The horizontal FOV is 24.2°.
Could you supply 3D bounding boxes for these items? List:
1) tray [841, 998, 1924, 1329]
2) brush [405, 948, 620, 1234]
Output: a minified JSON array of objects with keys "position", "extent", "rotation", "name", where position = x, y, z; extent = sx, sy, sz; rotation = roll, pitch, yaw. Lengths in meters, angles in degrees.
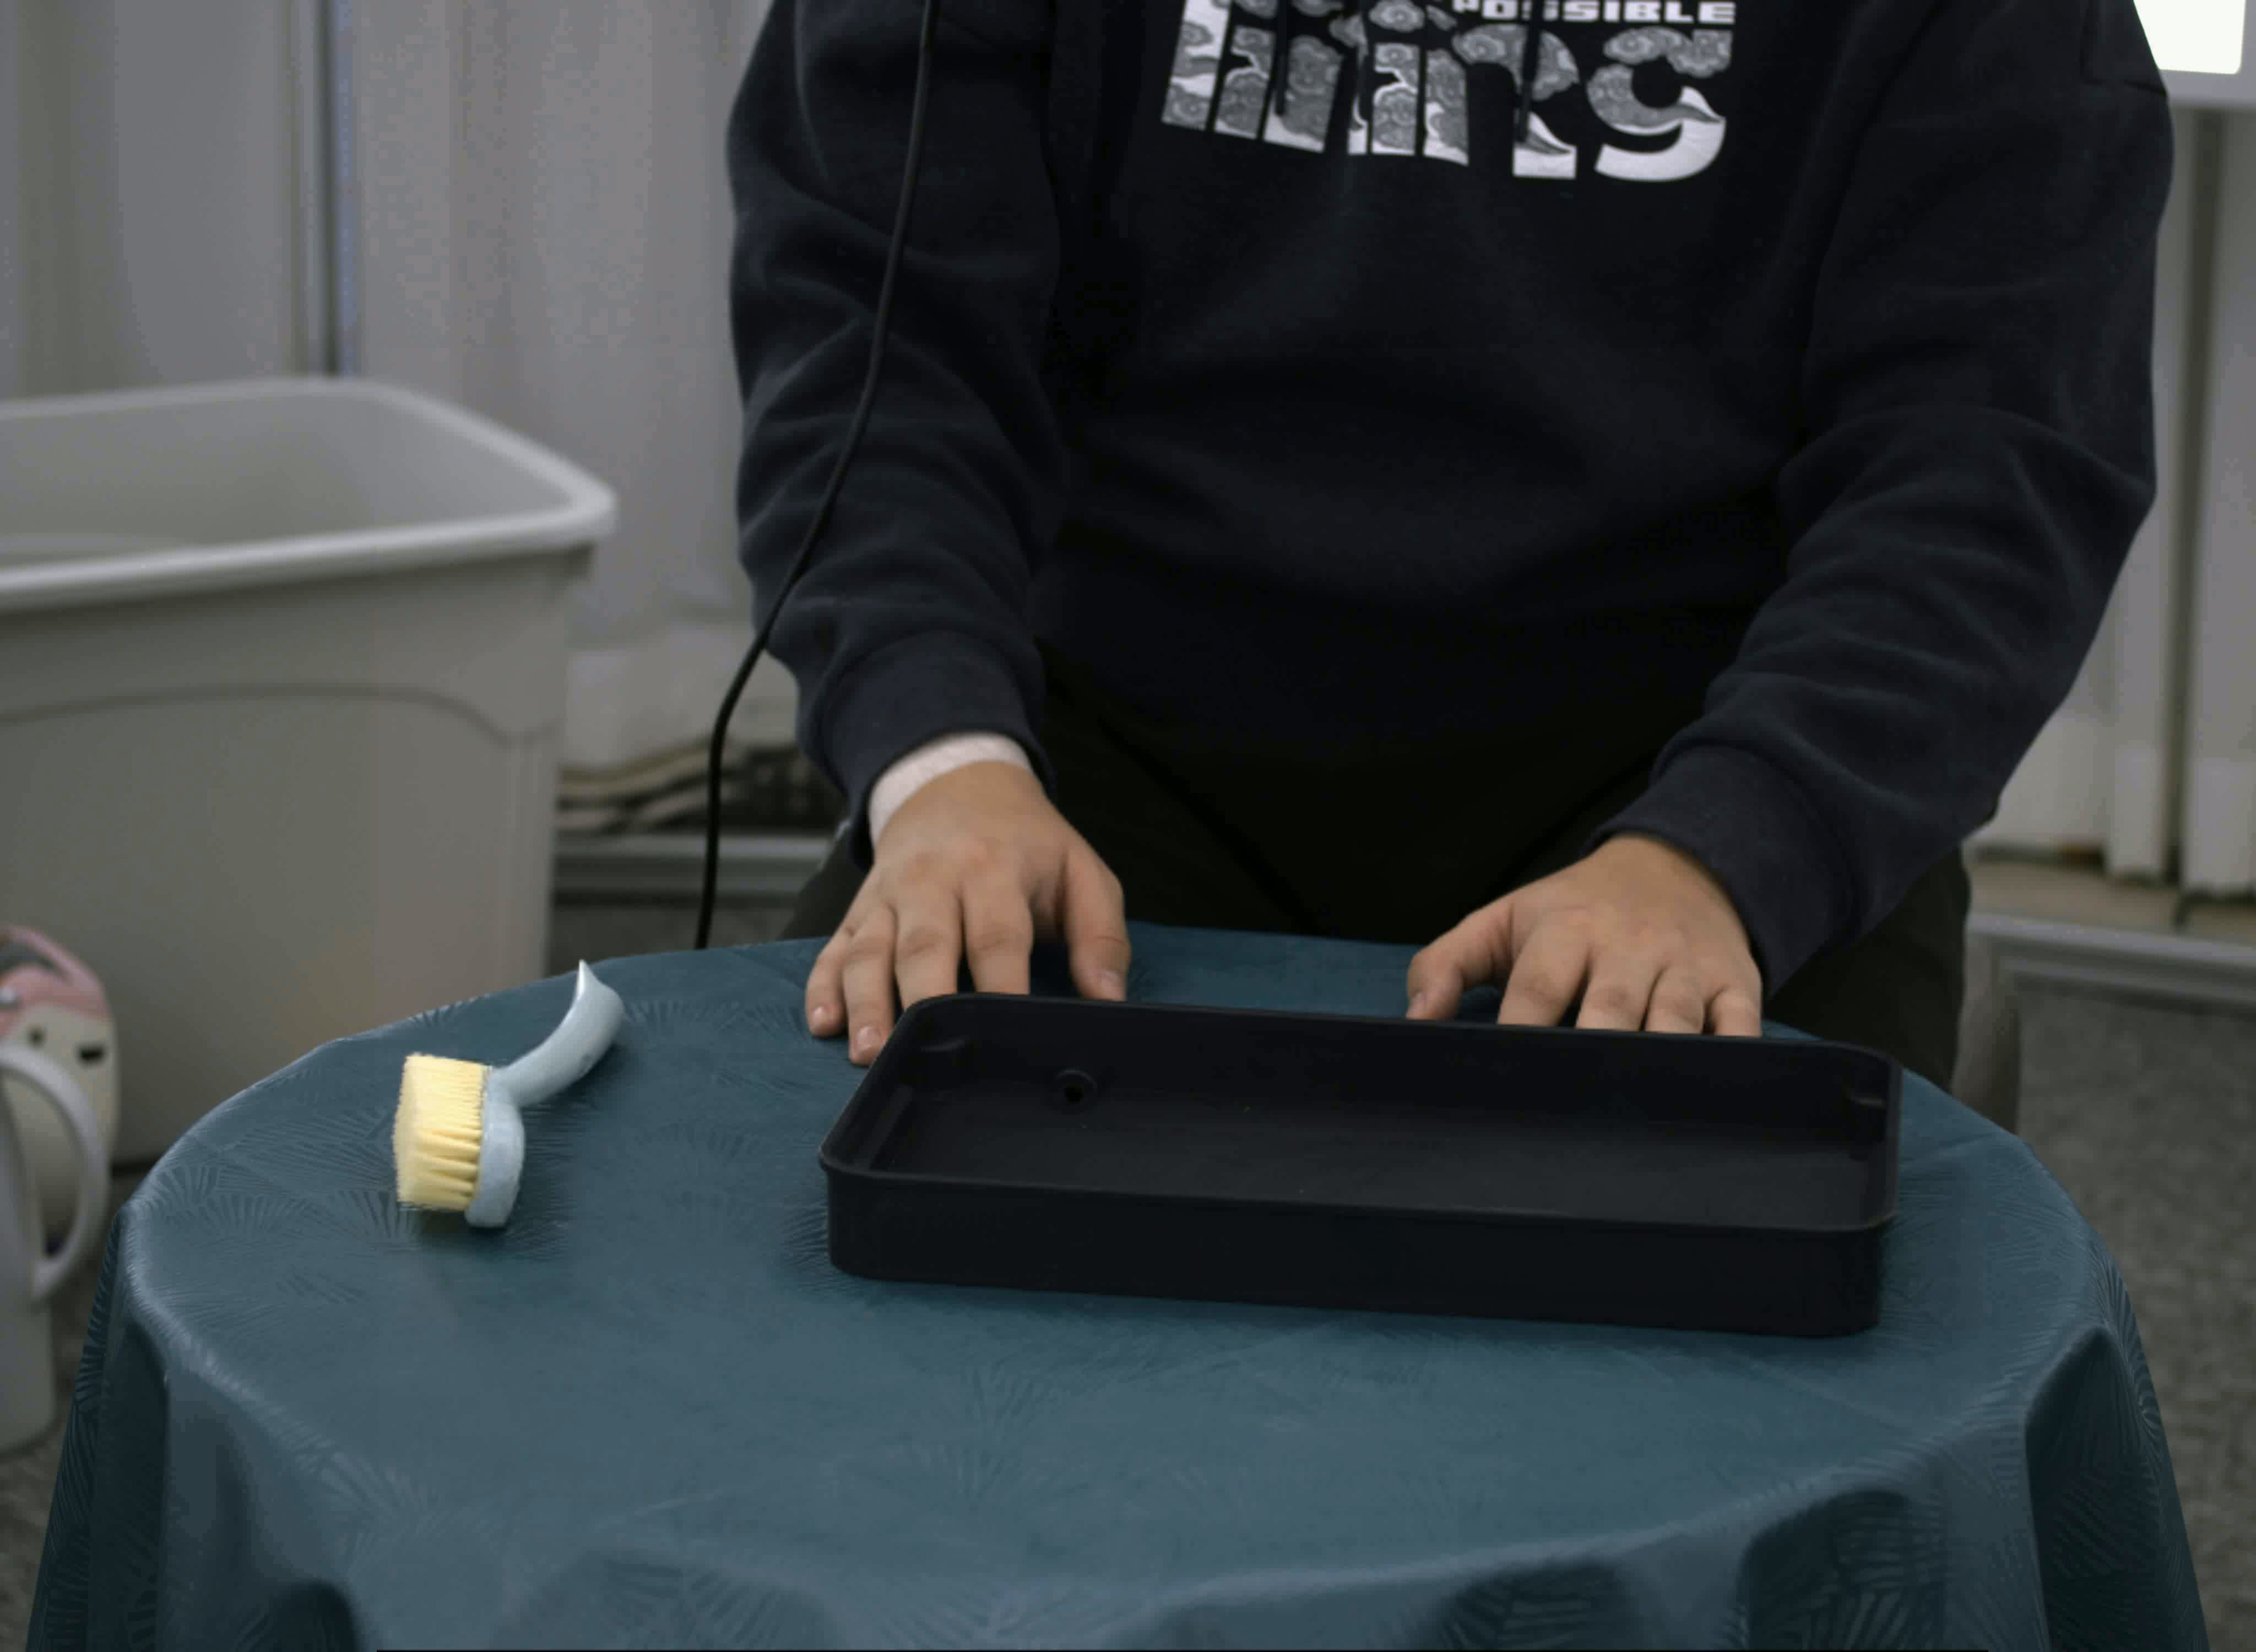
[{"position":[0.081,0.101,1.606],"extent":[0.316,0.037,0.184],"rotation":[2,15,6],"name":"tray"},{"position":[-0.197,0.077,1.673],"extent":[0.049,0.038,0.228],"rotation":[9,16,1],"name":"brush"}]
